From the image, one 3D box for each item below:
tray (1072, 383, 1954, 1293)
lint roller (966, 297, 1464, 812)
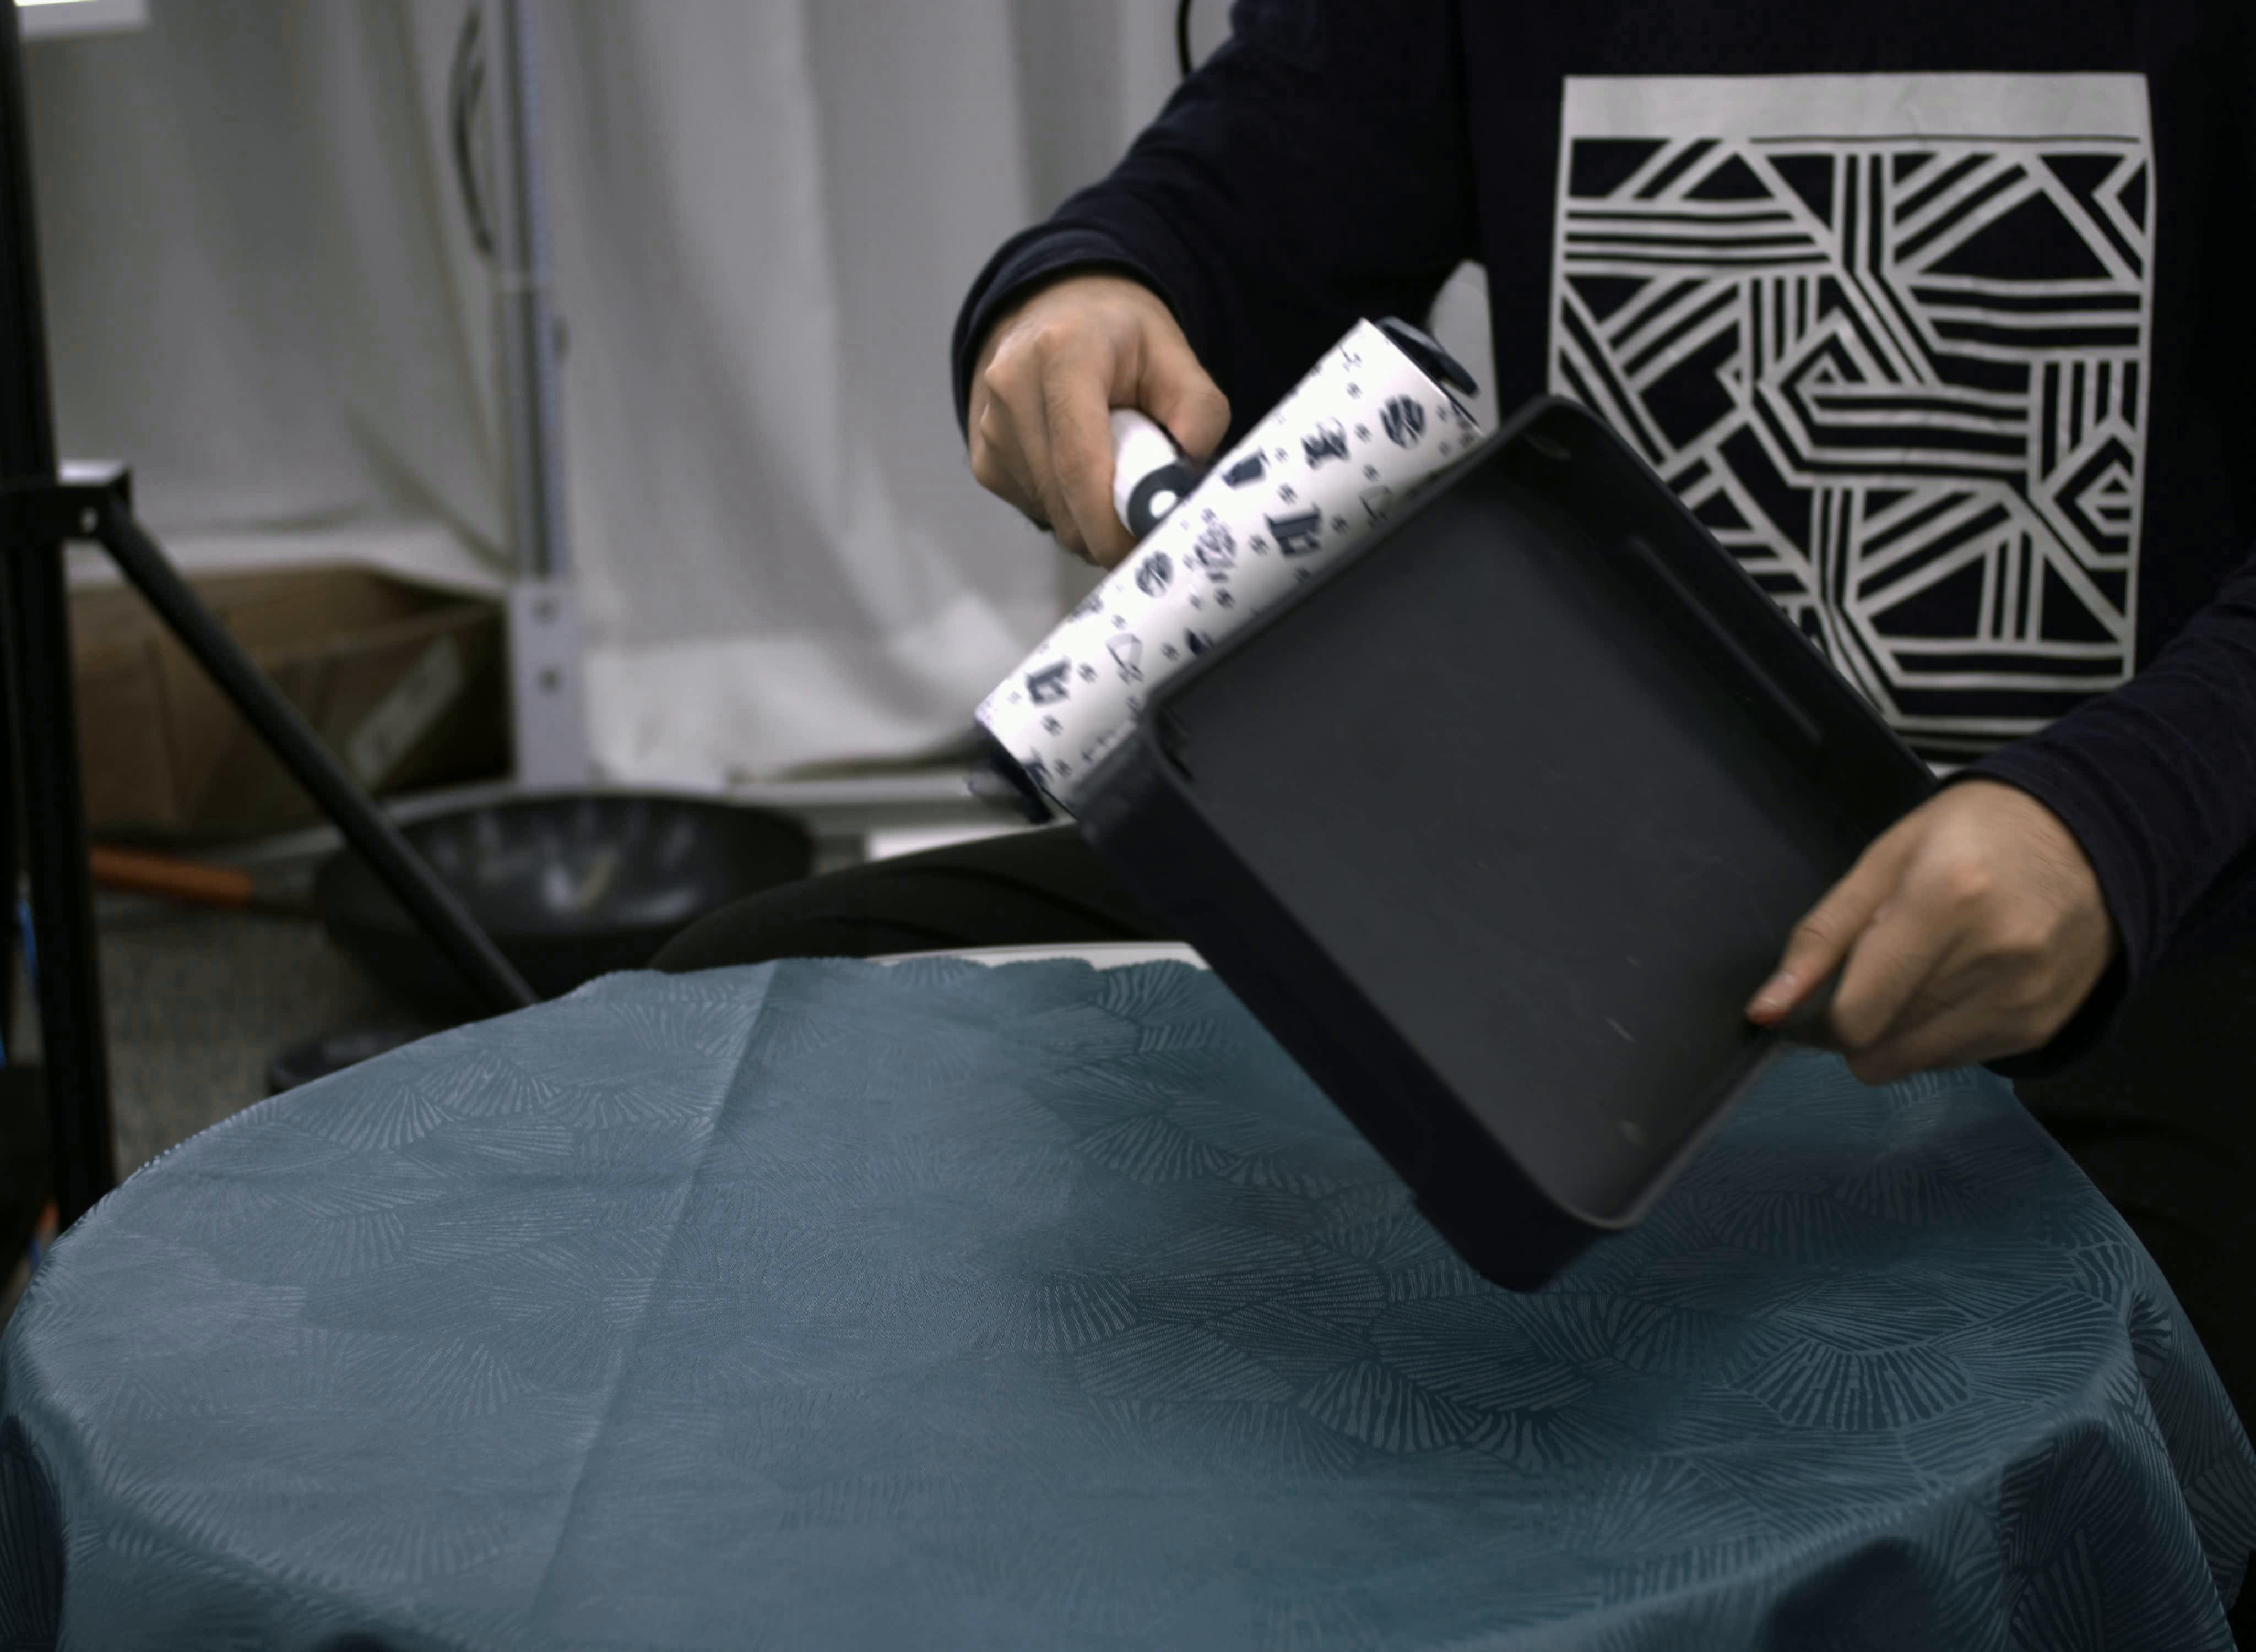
[{"bbox_3d":[0.113,-0.005,1.452,0.037,0.185,0.313,-44,-4,33],"label":"tray"},{"bbox_3d":[0.008,-0.099,1.612,0.176,0.050,0.249,-46,16,3],"label":"lint roller"}]
